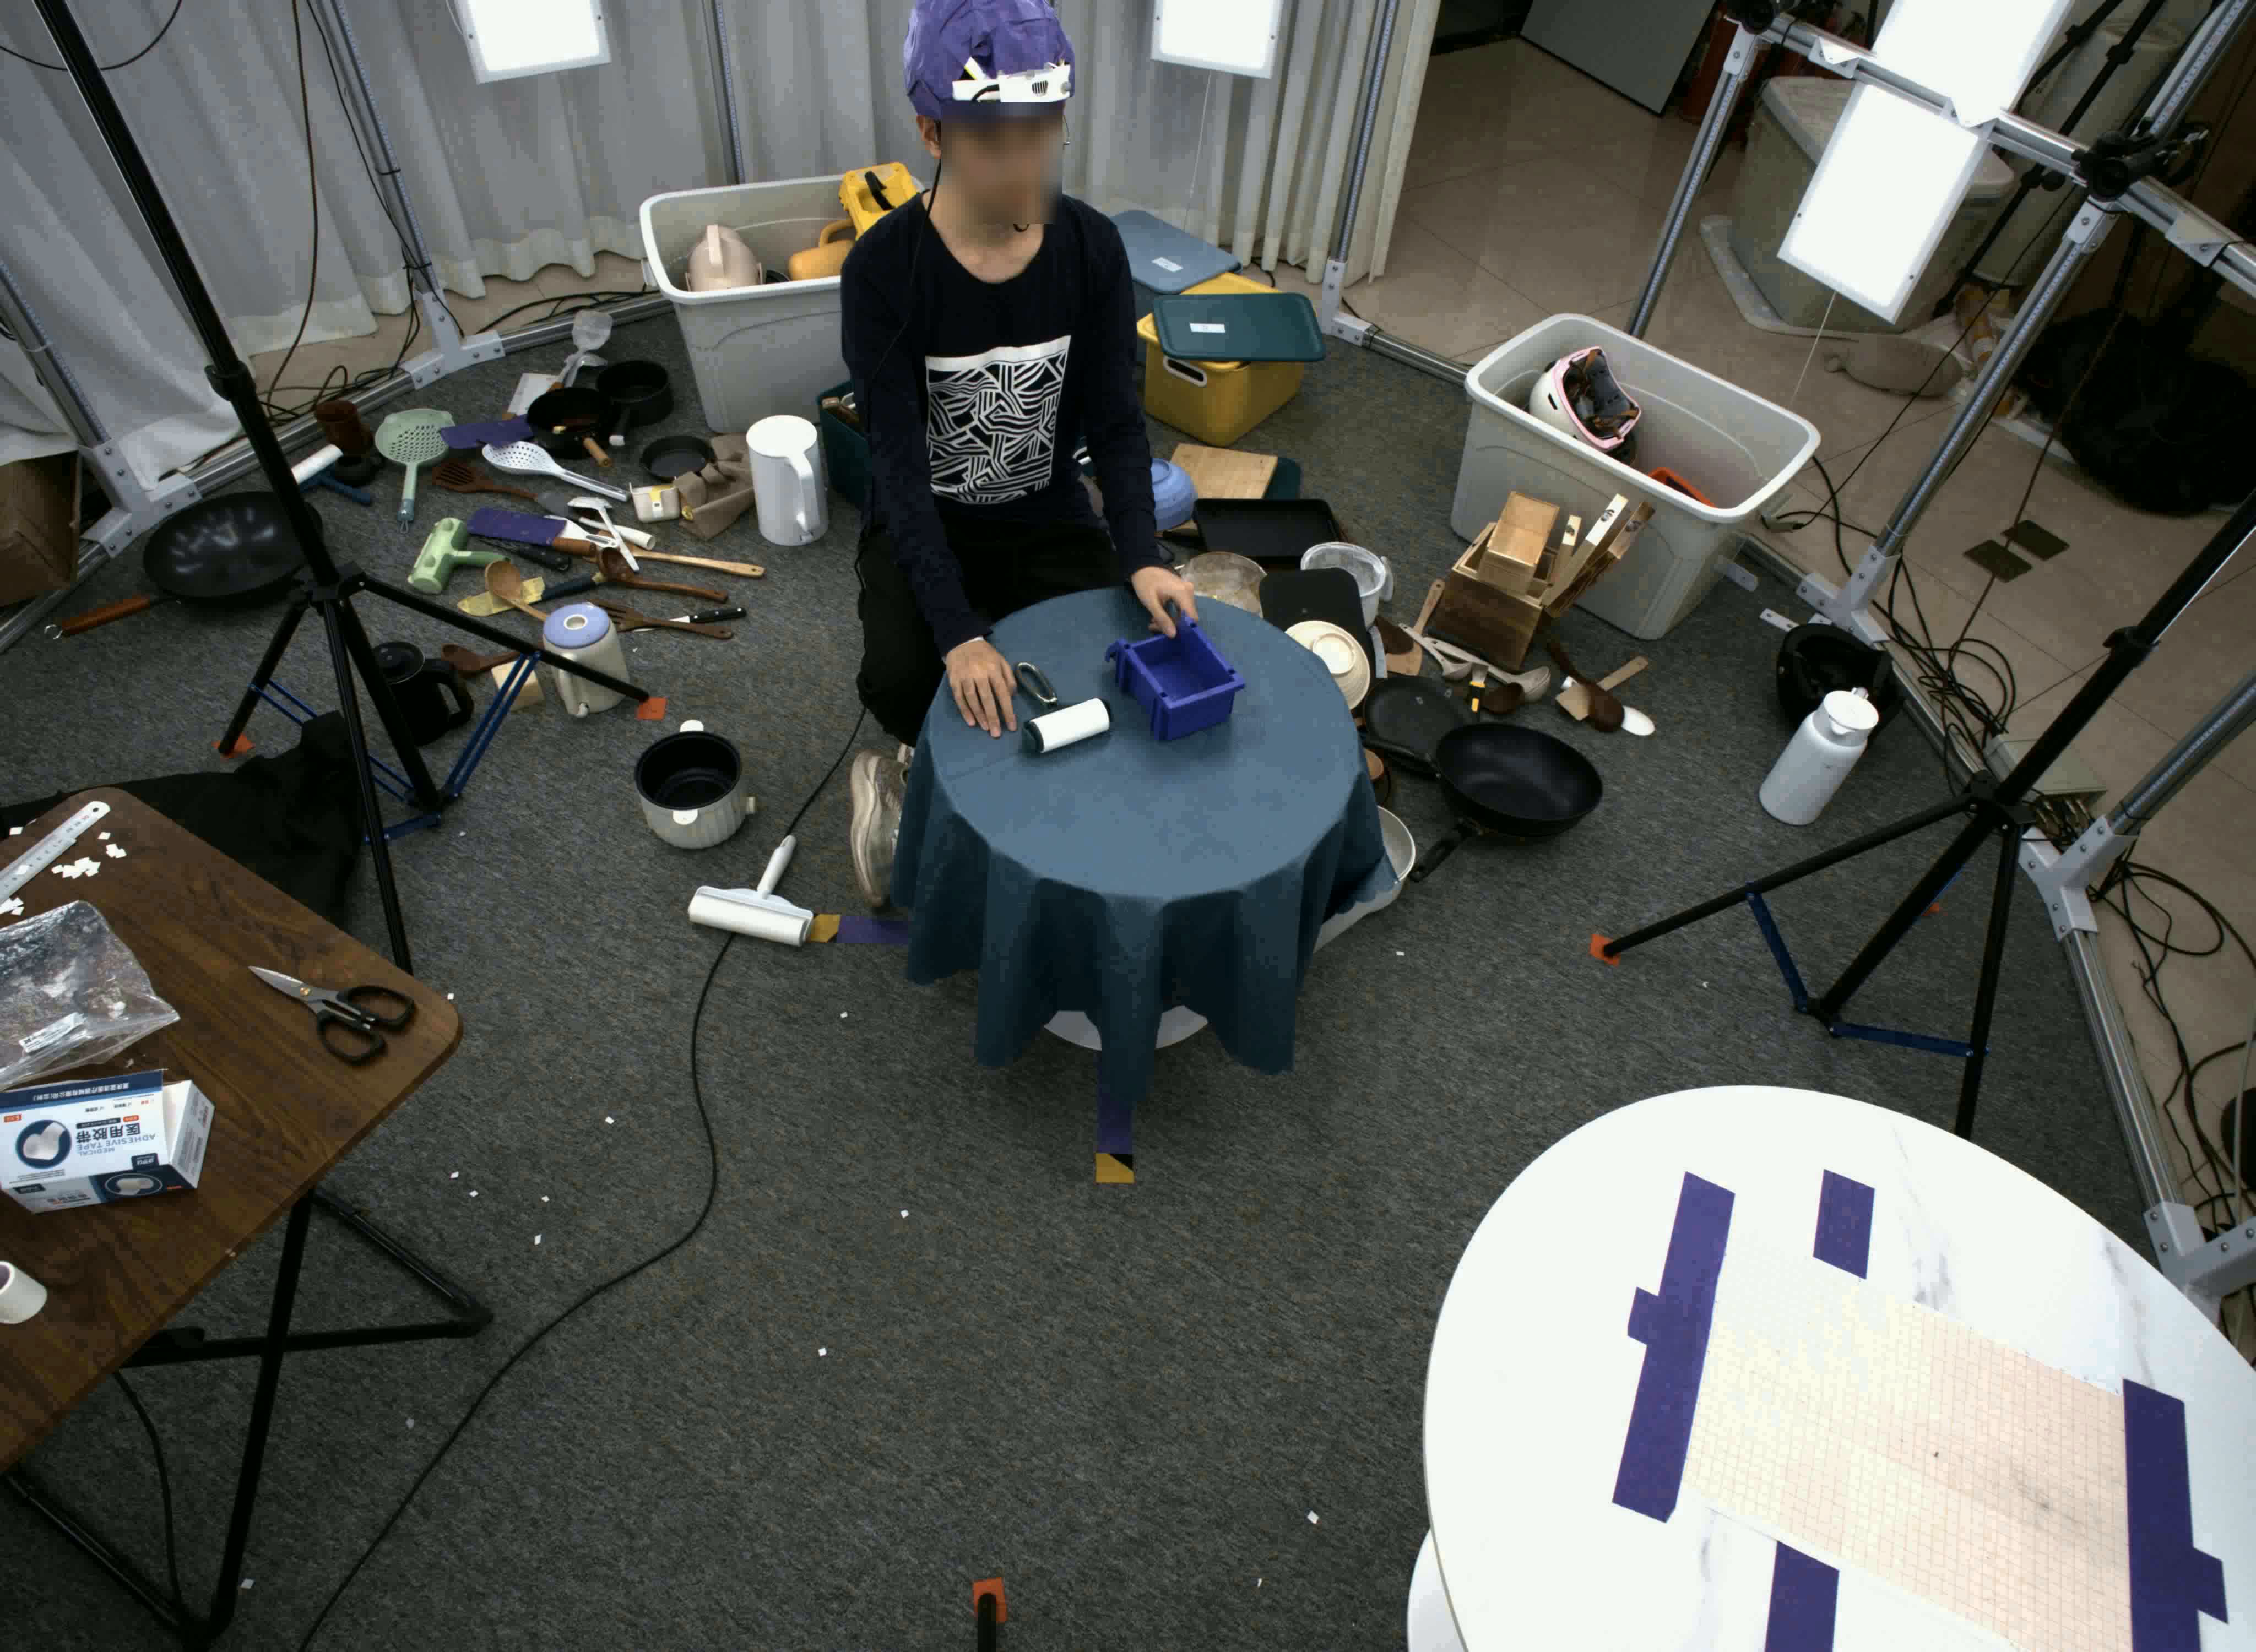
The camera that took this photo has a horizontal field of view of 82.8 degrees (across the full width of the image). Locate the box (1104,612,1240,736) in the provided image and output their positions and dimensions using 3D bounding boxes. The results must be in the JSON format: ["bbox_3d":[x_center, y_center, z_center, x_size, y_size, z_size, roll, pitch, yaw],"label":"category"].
[{"bbox_3d":[0.056,-0.219,1.808,0.125,0.080,0.183,-19,56,-18],"label":"box"}]

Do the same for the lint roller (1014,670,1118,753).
[{"bbox_3d":[-0.113,-0.181,1.793,0.134,0.047,0.184,-21,49,-20],"label":"lint roller"}]
